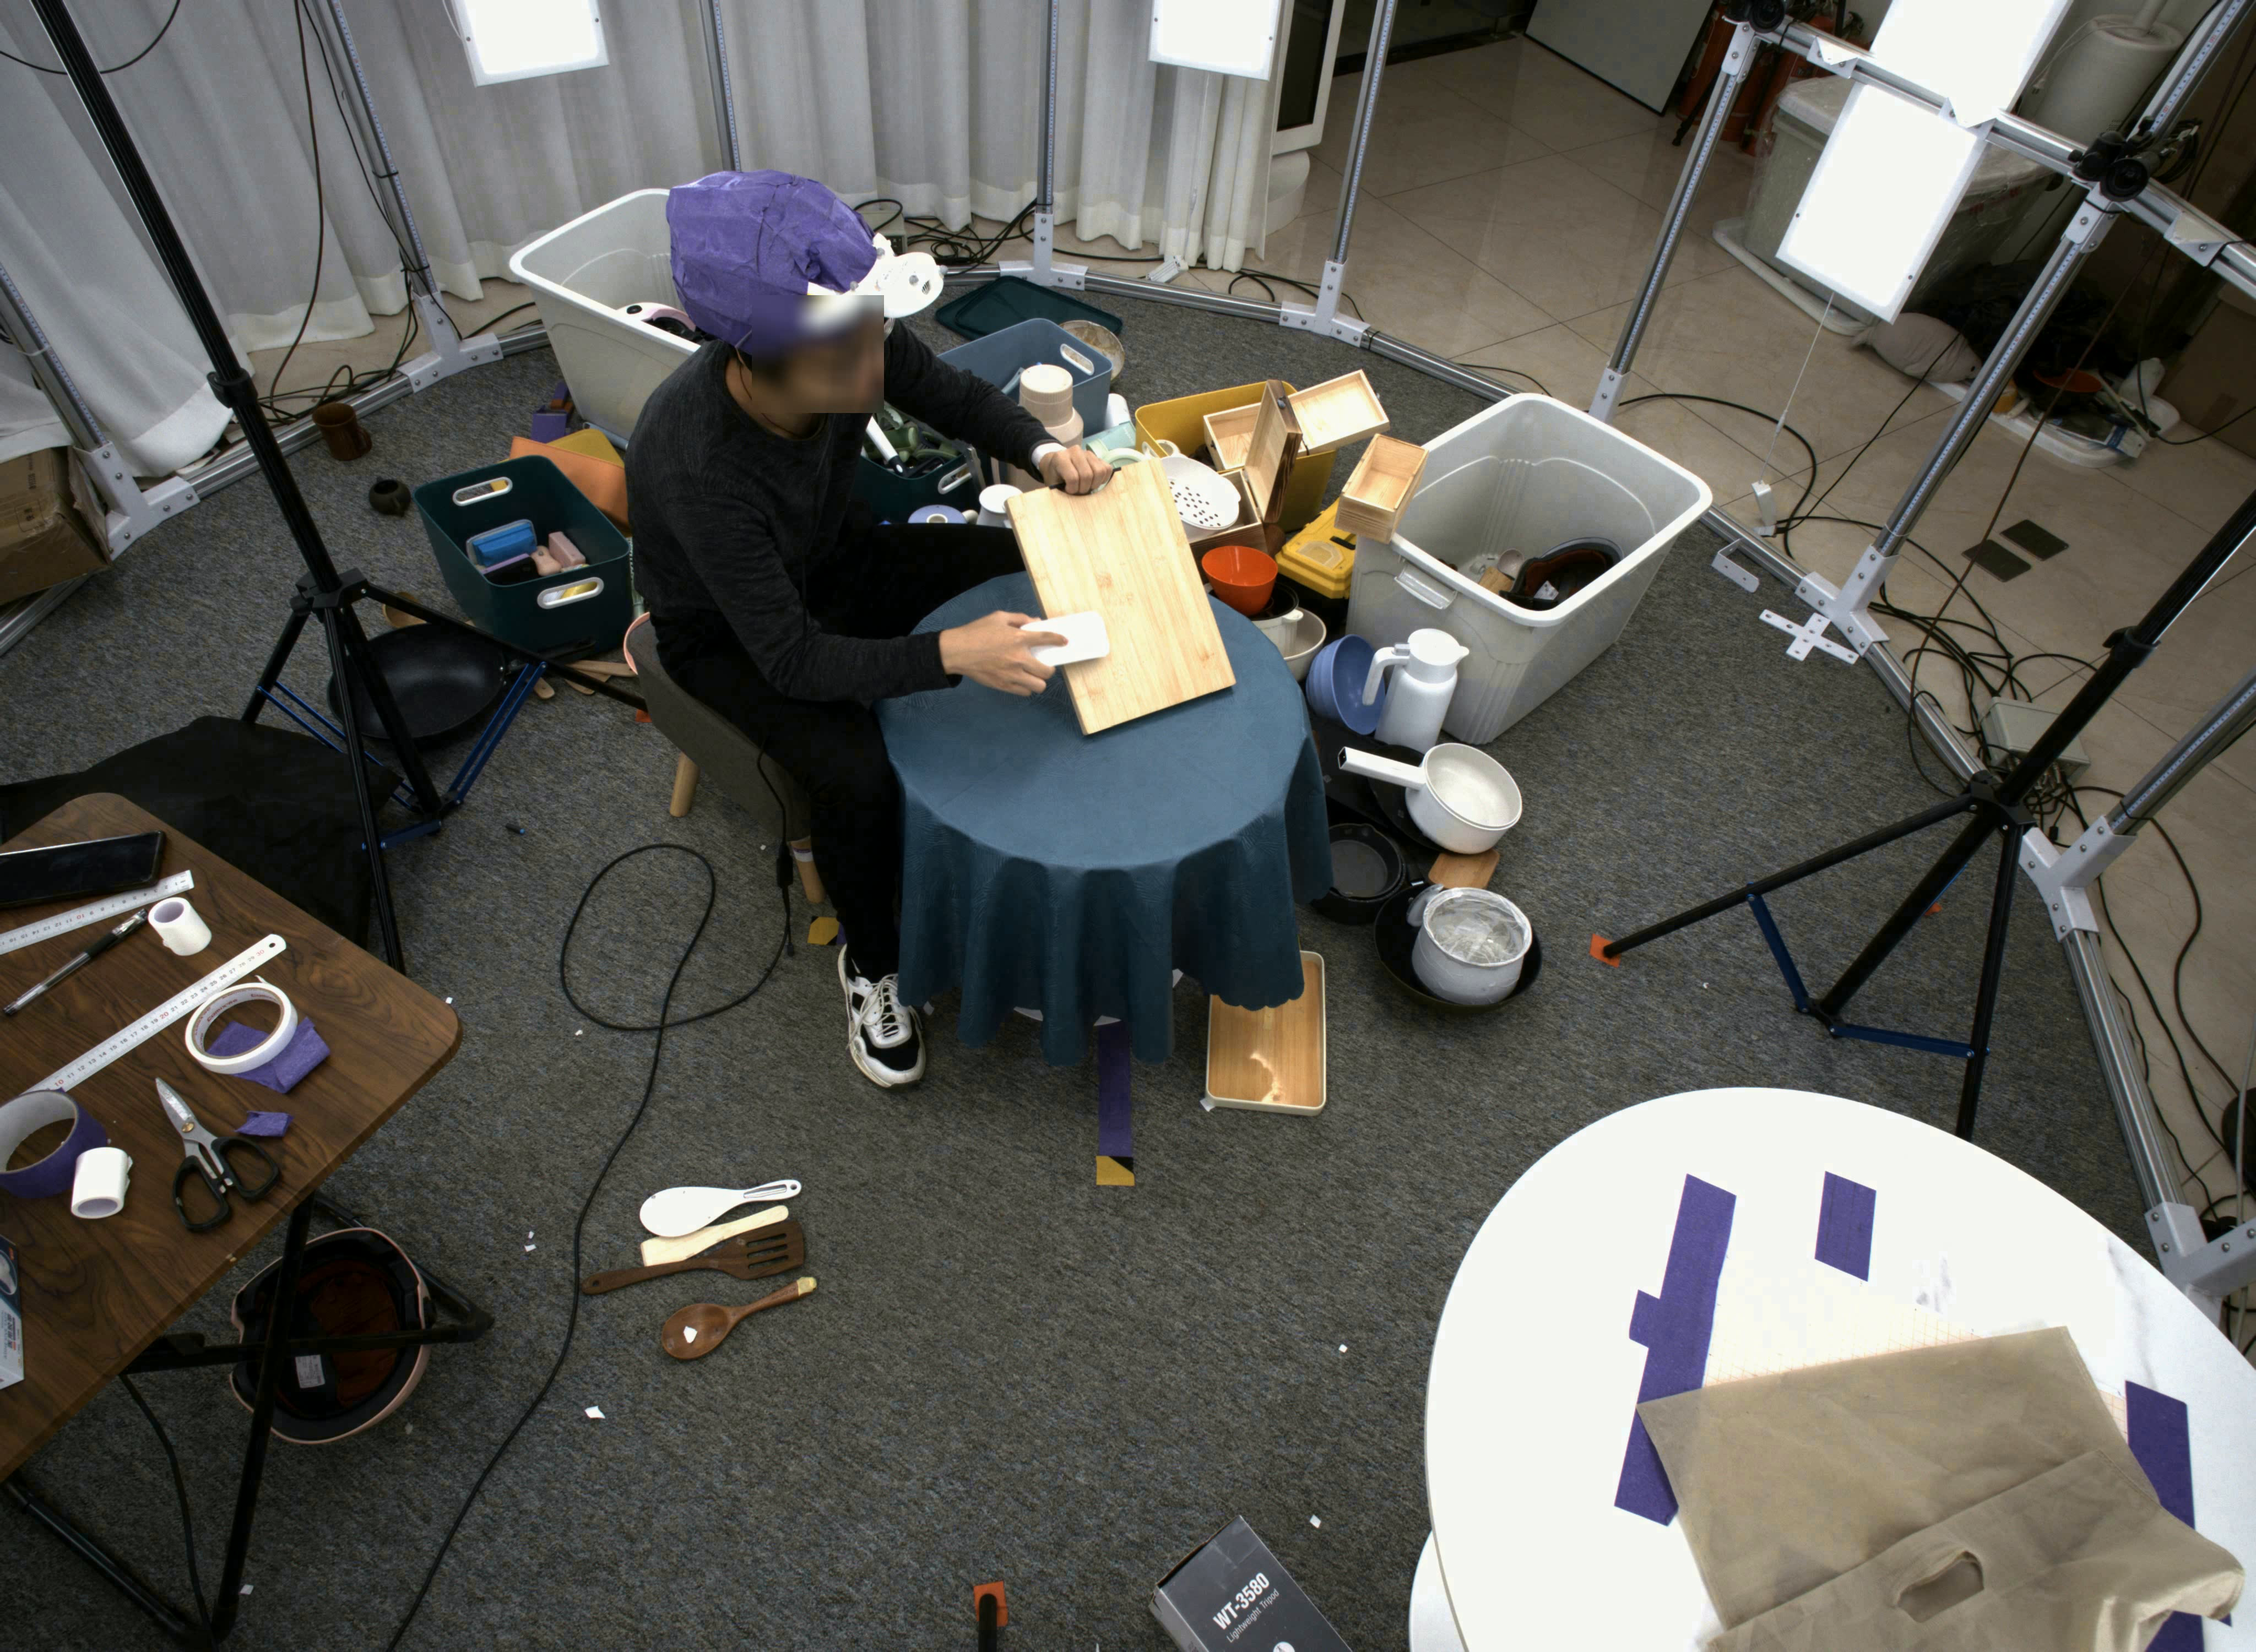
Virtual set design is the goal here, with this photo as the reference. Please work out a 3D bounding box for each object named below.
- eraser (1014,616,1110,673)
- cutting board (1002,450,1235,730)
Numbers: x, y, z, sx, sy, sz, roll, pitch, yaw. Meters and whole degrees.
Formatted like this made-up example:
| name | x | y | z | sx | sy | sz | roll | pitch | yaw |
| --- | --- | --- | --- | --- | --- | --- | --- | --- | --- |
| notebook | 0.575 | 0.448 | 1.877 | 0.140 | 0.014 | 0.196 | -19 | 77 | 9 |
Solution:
| name | x | y | z | sx | sy | sz | roll | pitch | yaw |
| --- | --- | --- | --- | --- | --- | --- | --- | --- | --- |
| eraser | -0.088 | -0.247 | 1.735 | 0.131 | 0.034 | 0.063 | -14 | 89 | -27 |
| cutting board | -0.009 | -0.331 | 1.804 | 0.251 | 0.023 | 0.348 | -21 | 92 | -21 |
